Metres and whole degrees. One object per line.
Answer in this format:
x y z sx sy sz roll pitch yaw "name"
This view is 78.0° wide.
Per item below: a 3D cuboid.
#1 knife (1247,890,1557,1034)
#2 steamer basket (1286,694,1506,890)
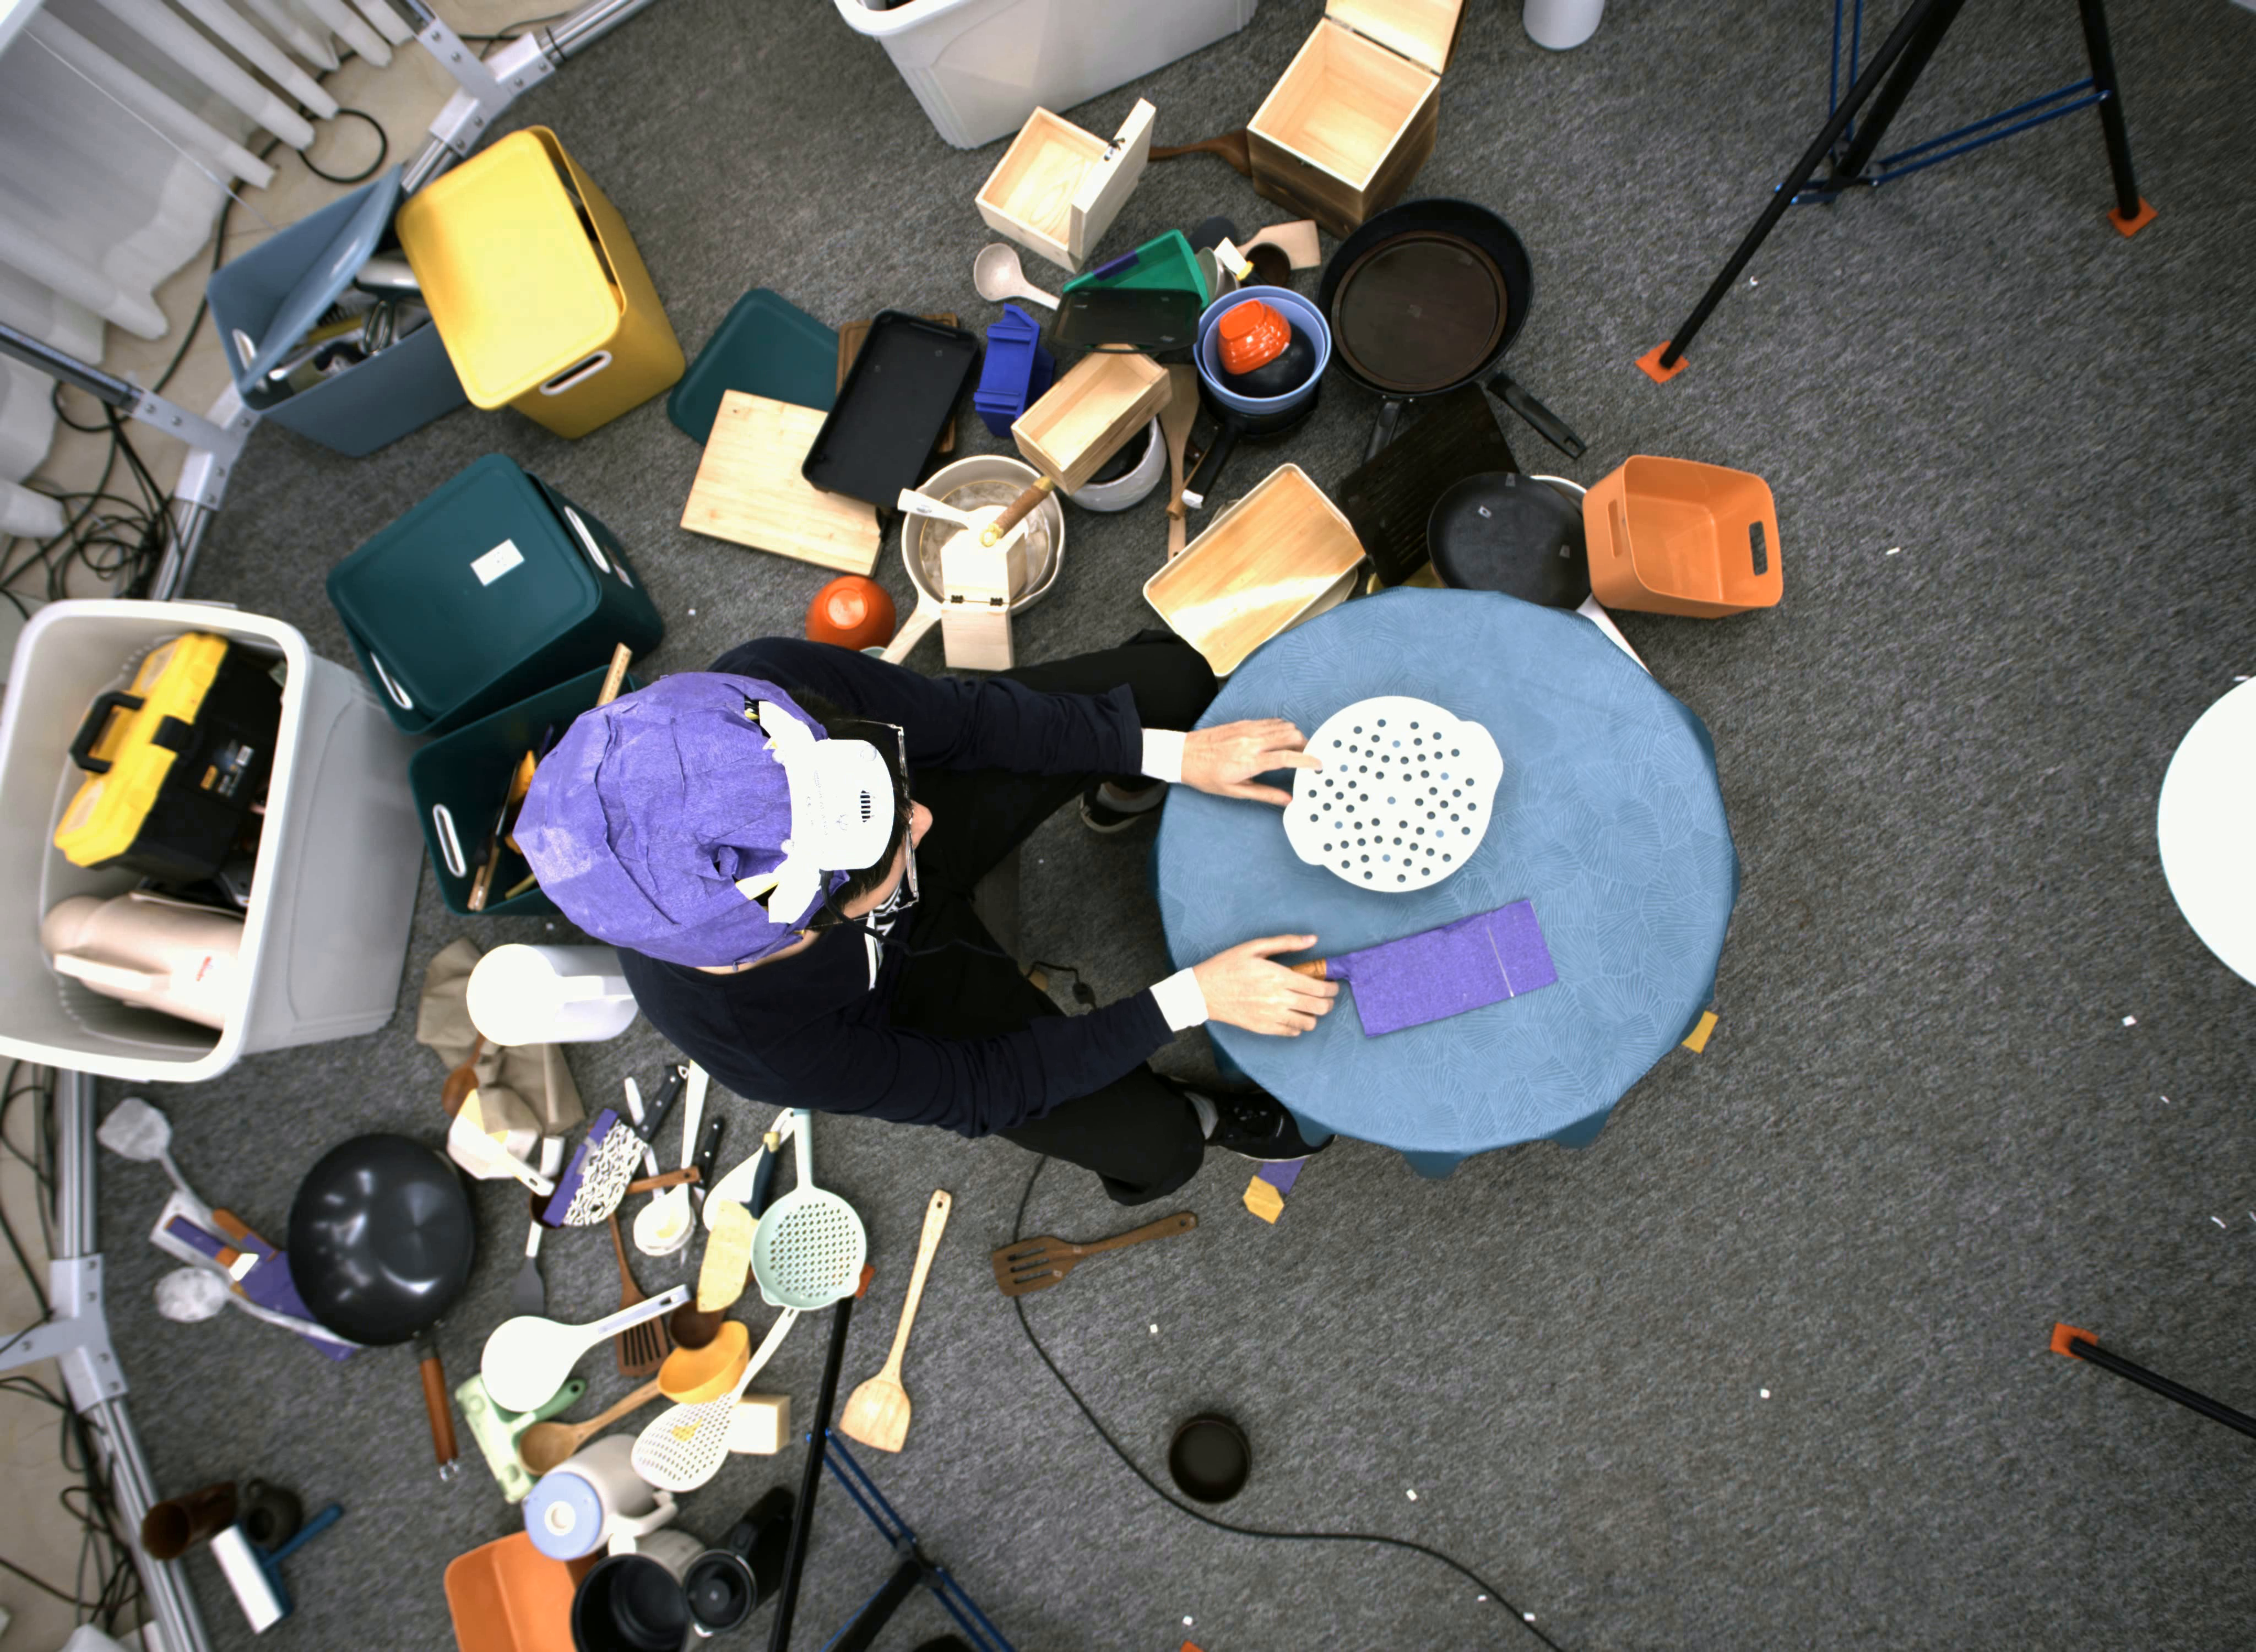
0.285 0.160 1.439 0.317 0.032 0.103 -18 83 9 "knife"
0.279 -0.034 1.432 0.232 0.069 0.200 -26 81 11 "steamer basket"
